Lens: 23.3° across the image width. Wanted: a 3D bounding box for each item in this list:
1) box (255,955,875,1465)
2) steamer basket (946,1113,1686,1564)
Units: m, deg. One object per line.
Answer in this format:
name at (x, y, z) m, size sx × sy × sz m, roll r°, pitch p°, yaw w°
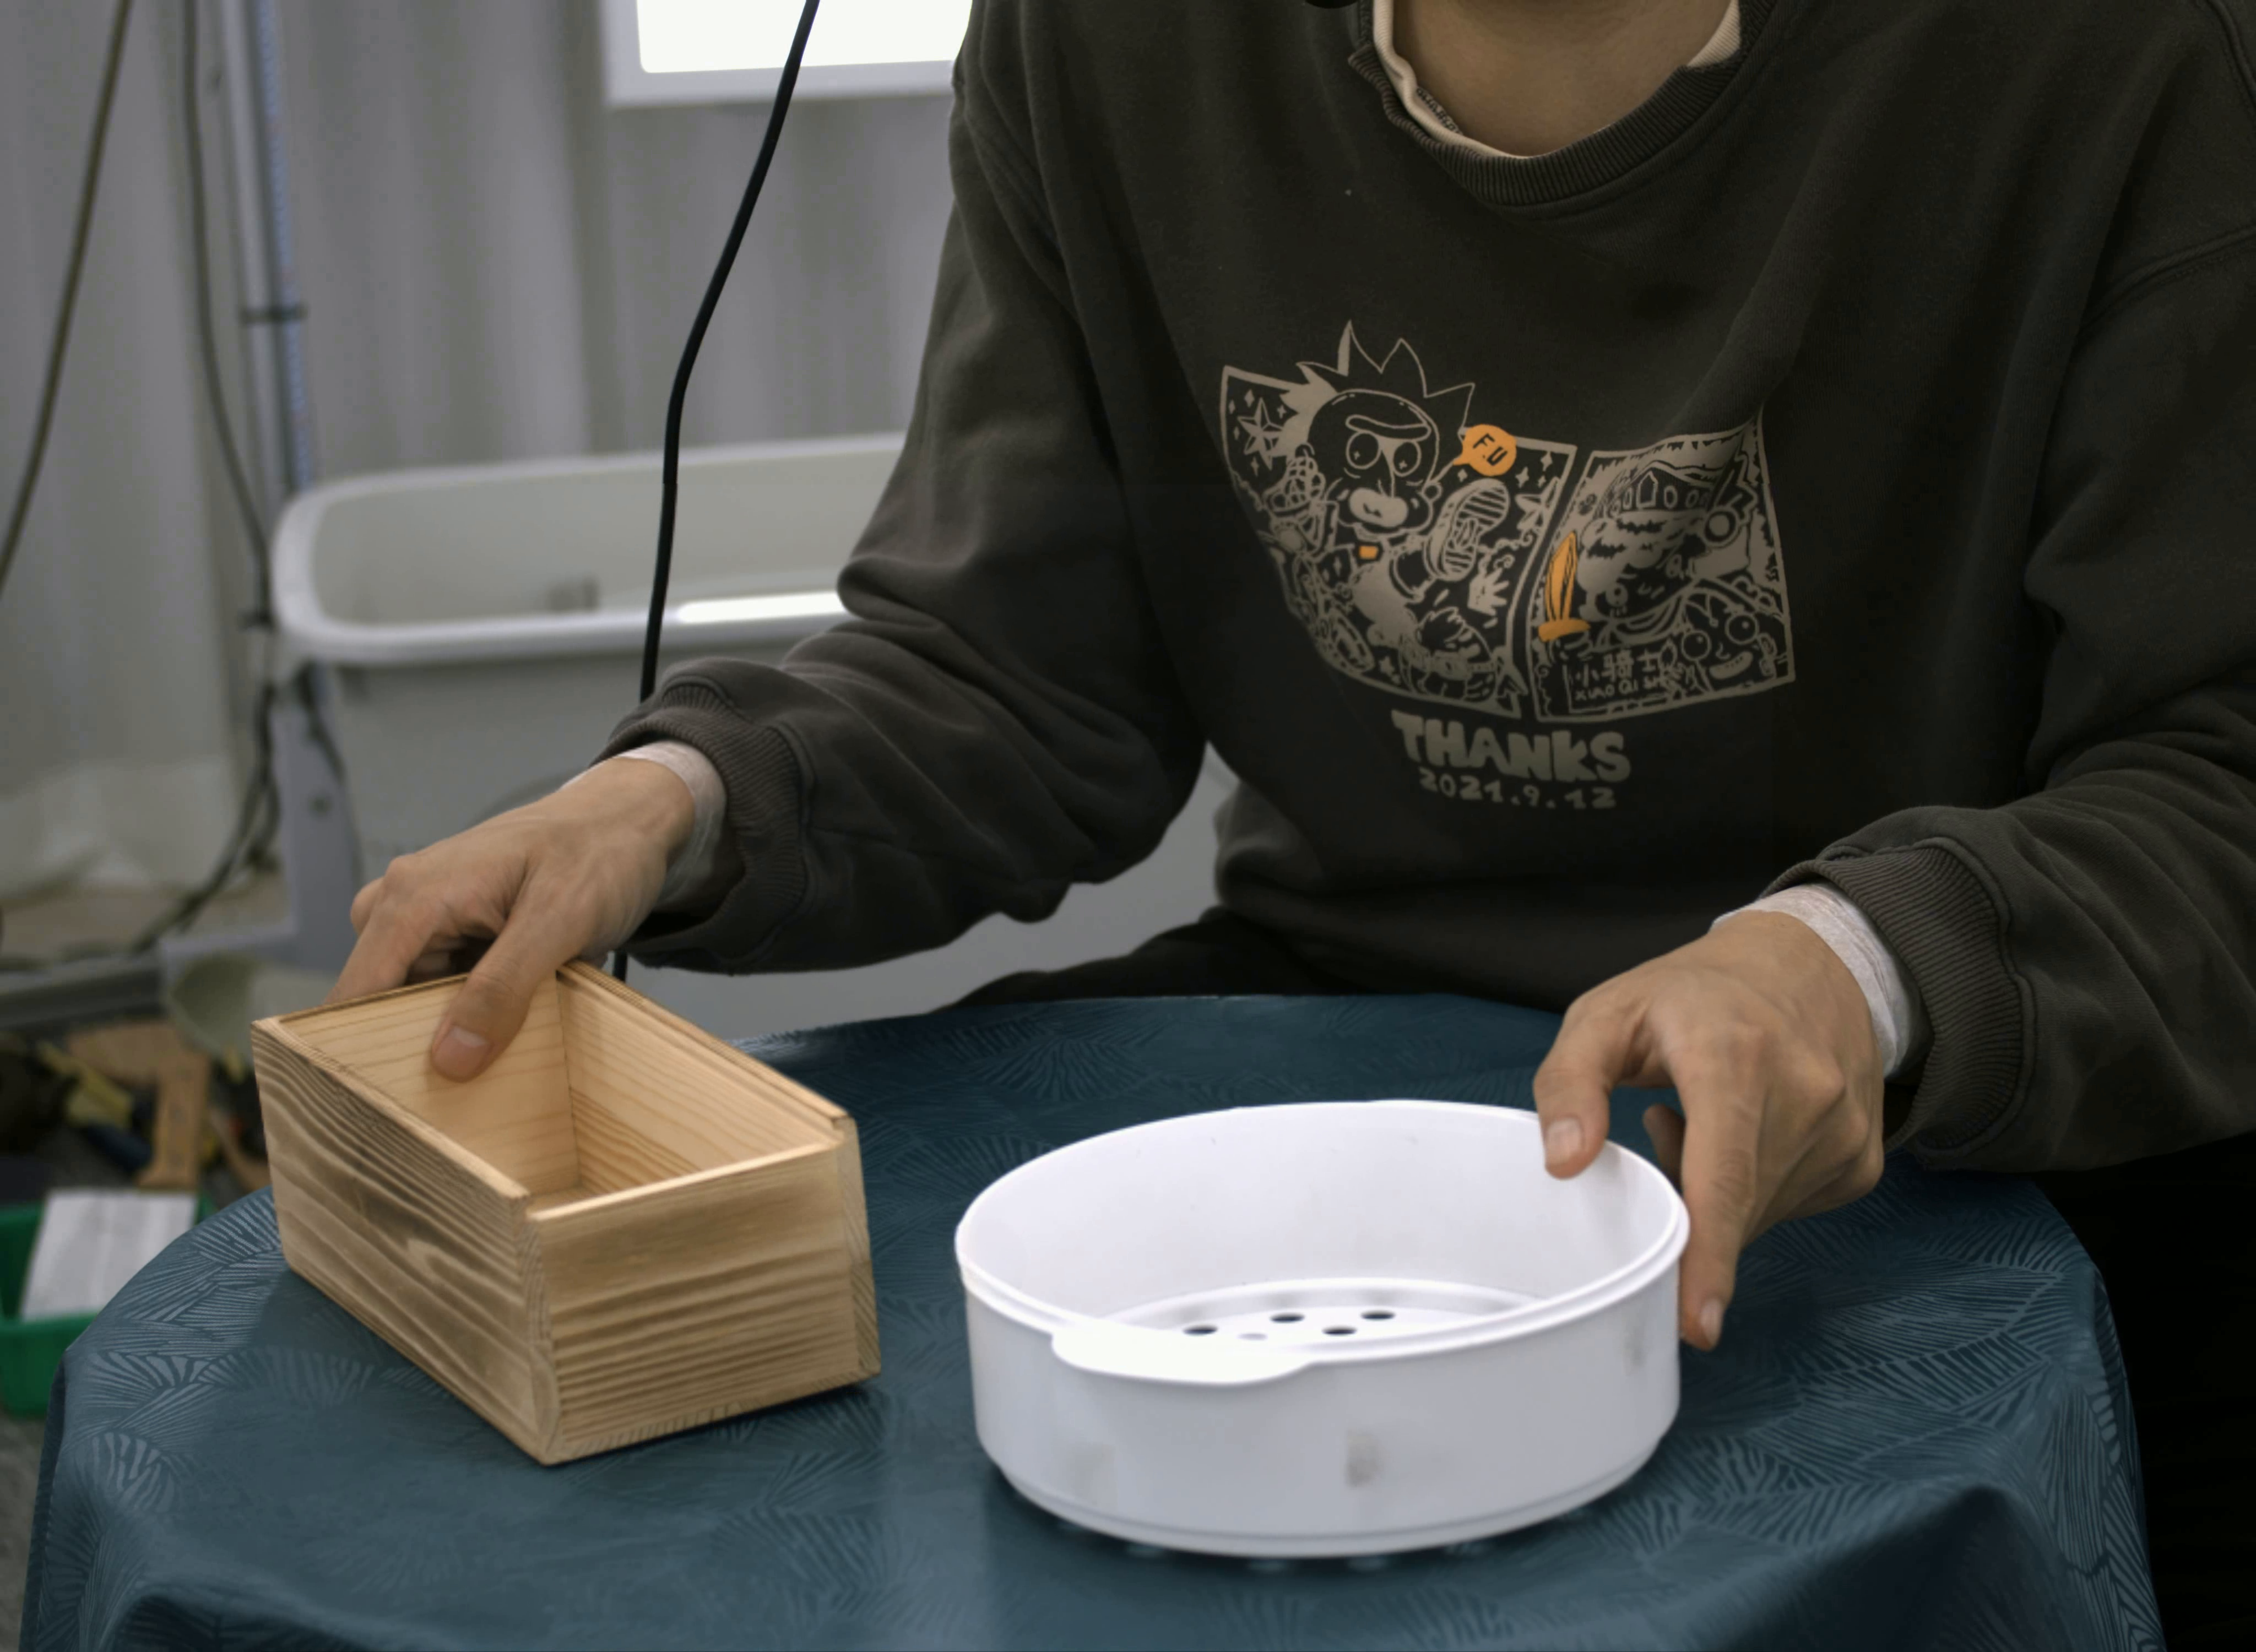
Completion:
box at (-0.170, 0.109, 1.618) m, size 0.107 × 0.080 × 0.213 m, roll -12°, pitch 17°, yaw -27°
steamer basket at (0.052, 0.139, 1.492) m, size 0.202 × 0.069 × 0.231 m, roll 5°, pitch 16°, yaw 24°
